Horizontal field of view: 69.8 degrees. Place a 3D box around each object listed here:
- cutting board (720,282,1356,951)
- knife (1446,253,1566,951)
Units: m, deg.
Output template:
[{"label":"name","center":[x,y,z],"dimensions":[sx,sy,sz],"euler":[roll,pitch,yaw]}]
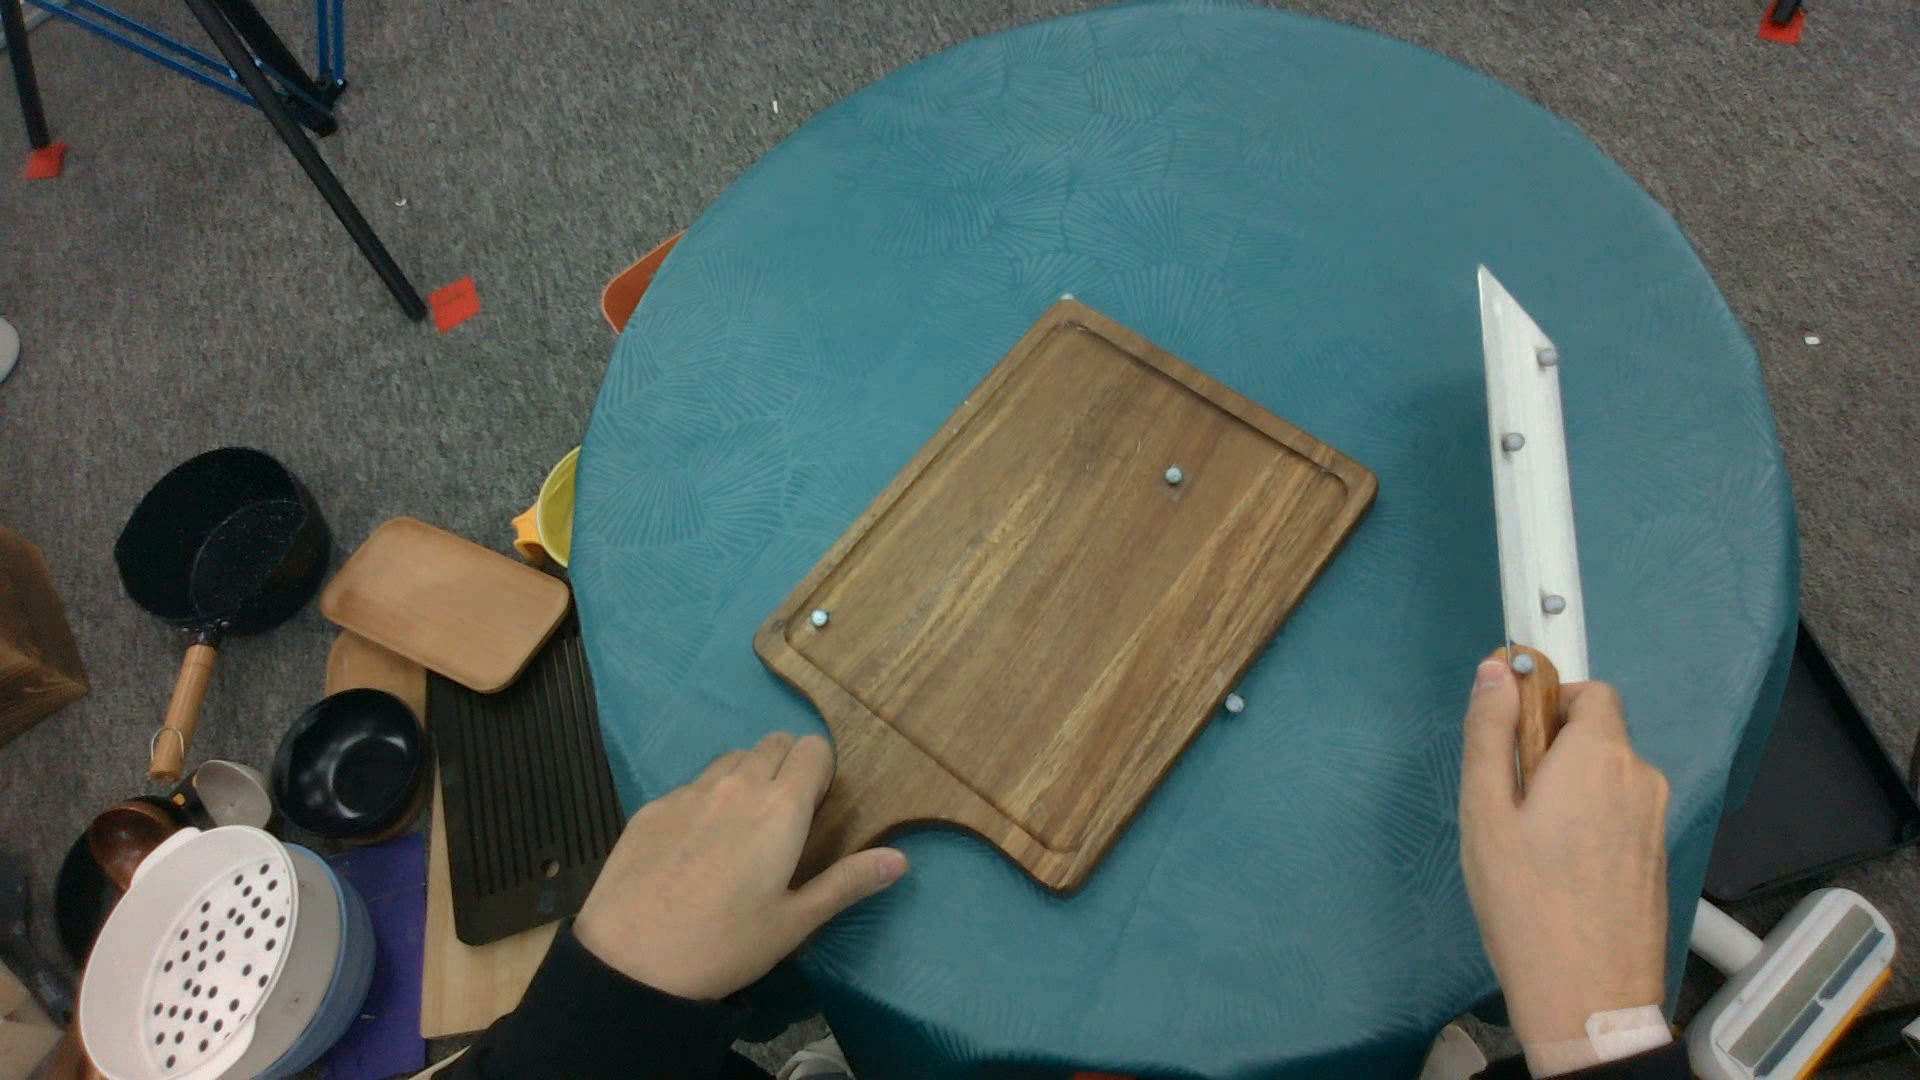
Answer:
[{"label":"cutting board","center":[0.011,0.042,0.647],"dimensions":[0.201,0.023,0.353],"euler":[33,72,21]},{"label":"knife","center":[0.237,0.021,0.589],"dimensions":[0.021,0.093,0.307],"euler":[-15,61,37]}]
